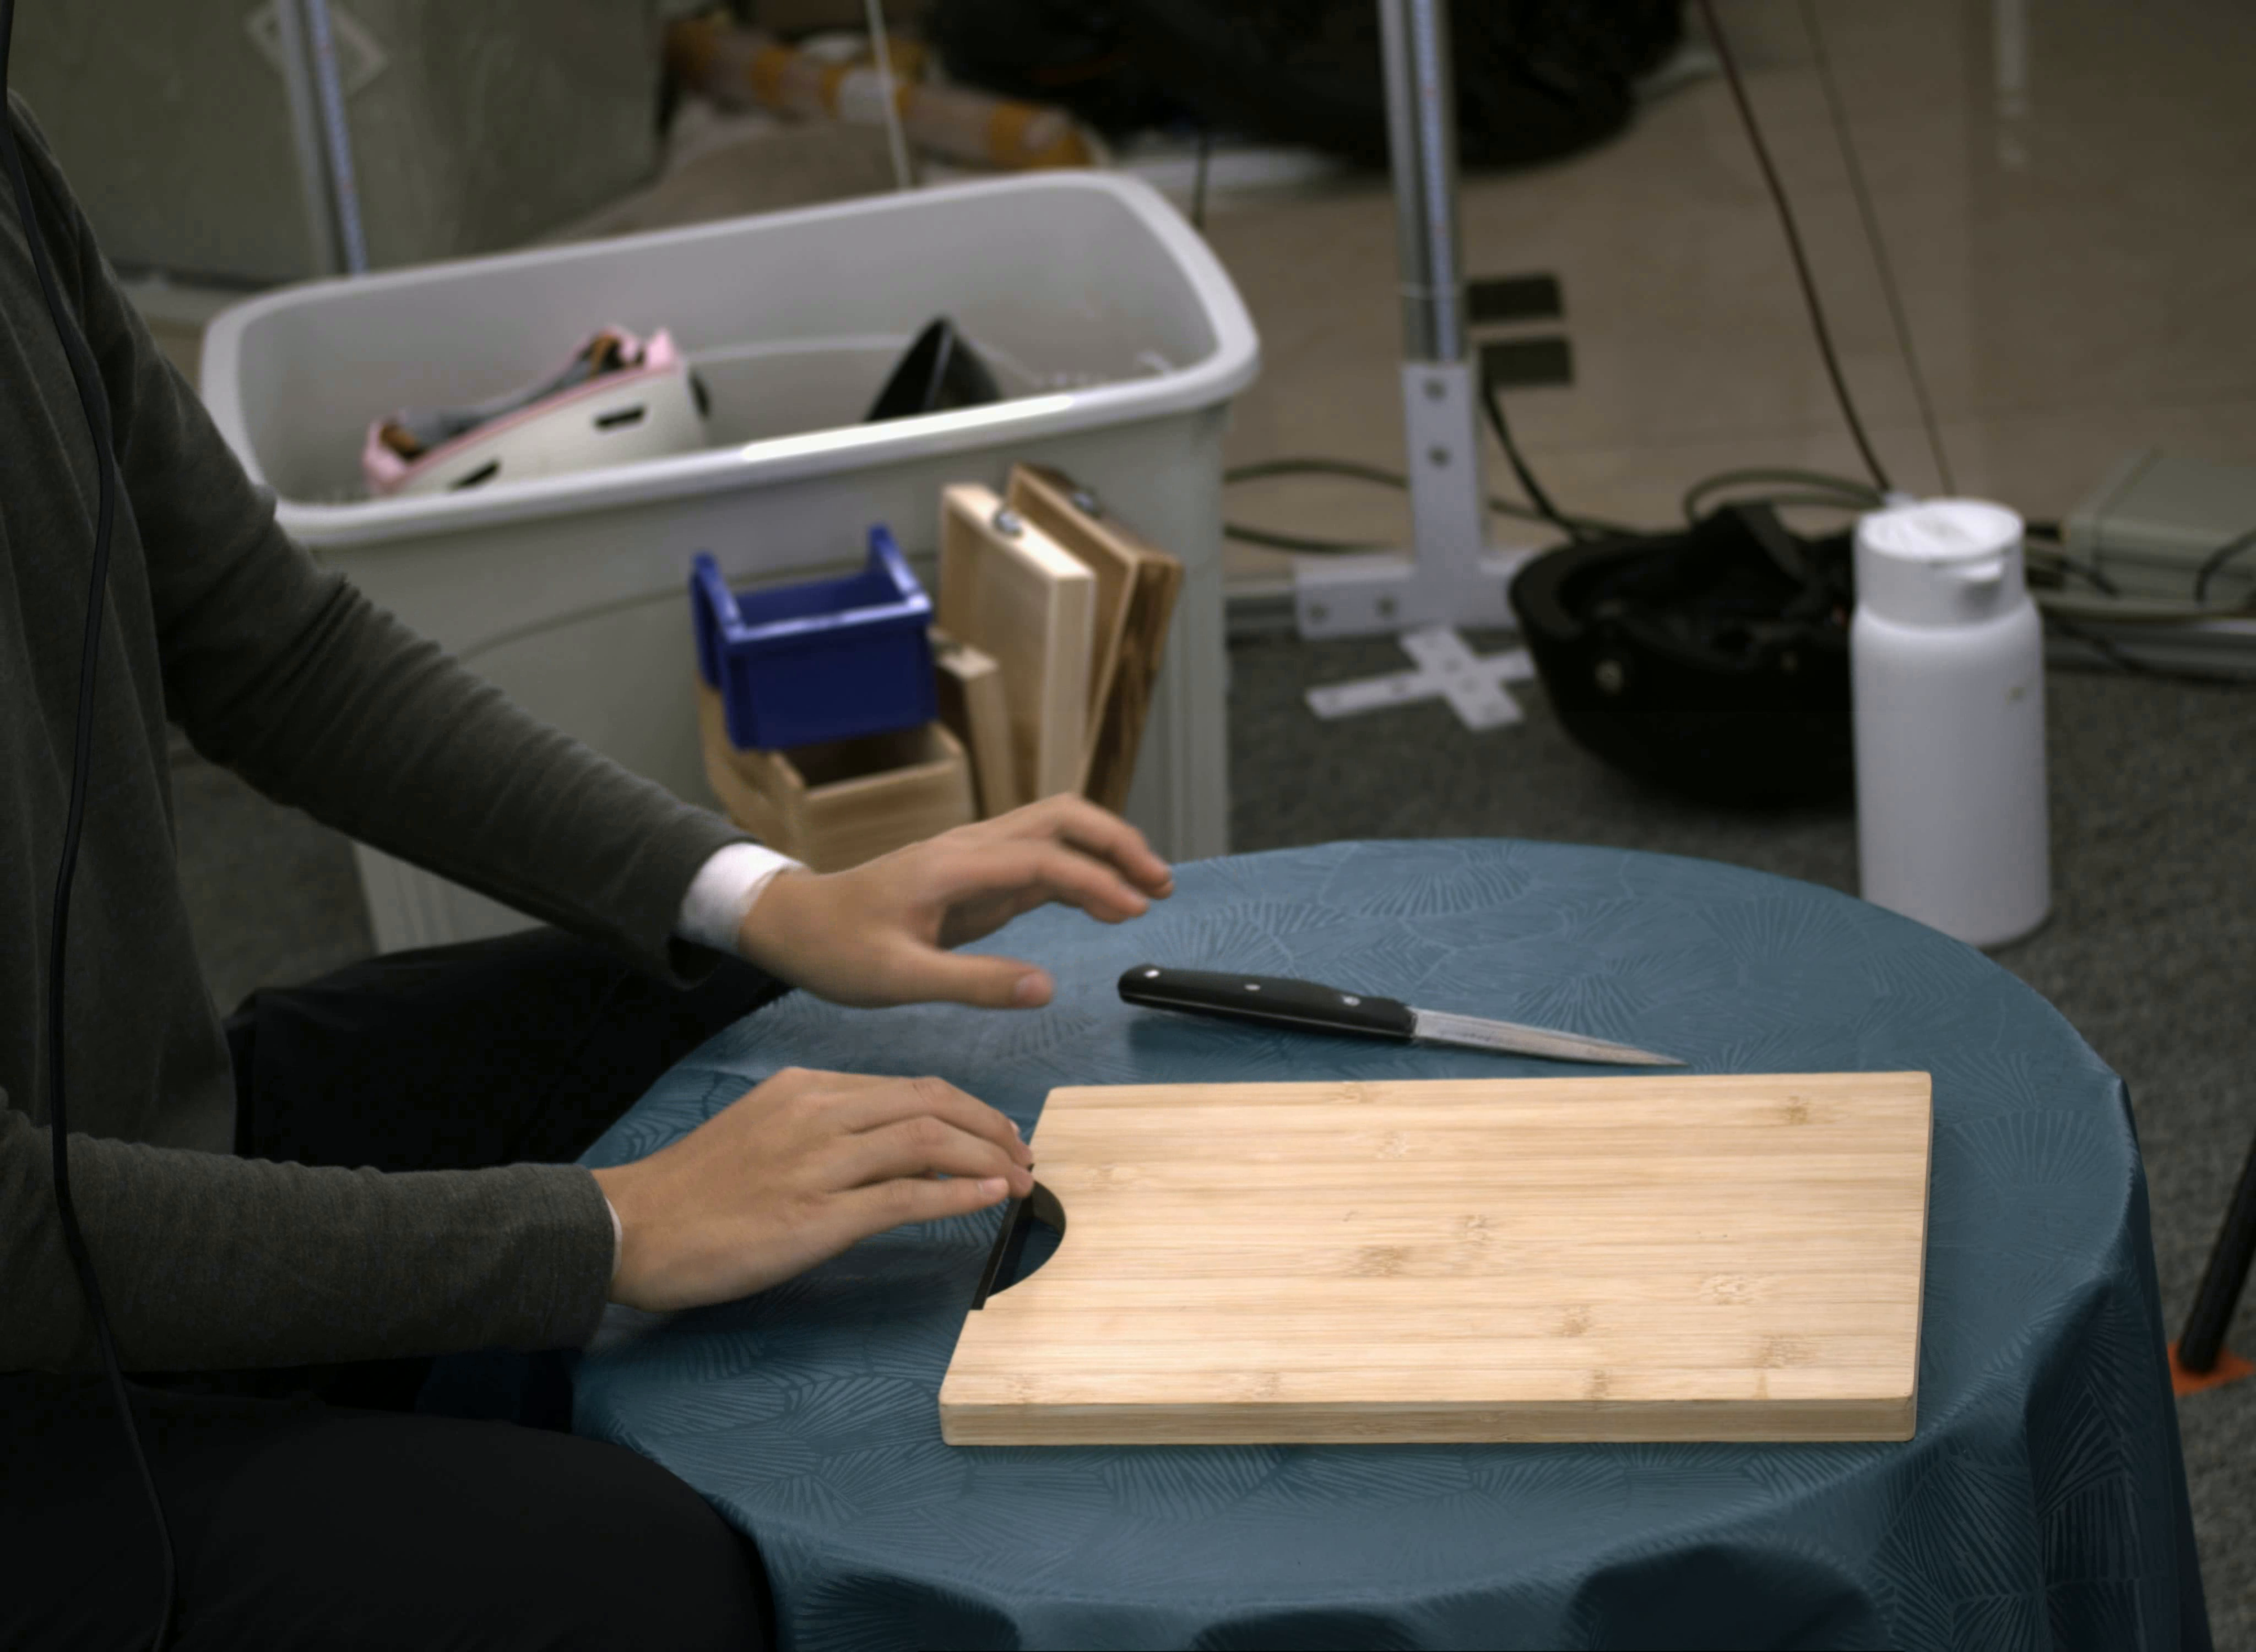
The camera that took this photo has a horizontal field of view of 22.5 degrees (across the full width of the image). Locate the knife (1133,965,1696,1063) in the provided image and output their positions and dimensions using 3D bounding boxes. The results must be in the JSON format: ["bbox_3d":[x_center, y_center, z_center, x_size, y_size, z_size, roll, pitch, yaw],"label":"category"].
[{"bbox_3d":[0.110,0.078,2.243,0.237,0.016,0.024,7,31,21],"label":"knife"}]

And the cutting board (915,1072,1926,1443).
[{"bbox_3d":[0.113,0.156,2.069,0.348,0.024,0.247,-2,25,10],"label":"cutting board"}]
